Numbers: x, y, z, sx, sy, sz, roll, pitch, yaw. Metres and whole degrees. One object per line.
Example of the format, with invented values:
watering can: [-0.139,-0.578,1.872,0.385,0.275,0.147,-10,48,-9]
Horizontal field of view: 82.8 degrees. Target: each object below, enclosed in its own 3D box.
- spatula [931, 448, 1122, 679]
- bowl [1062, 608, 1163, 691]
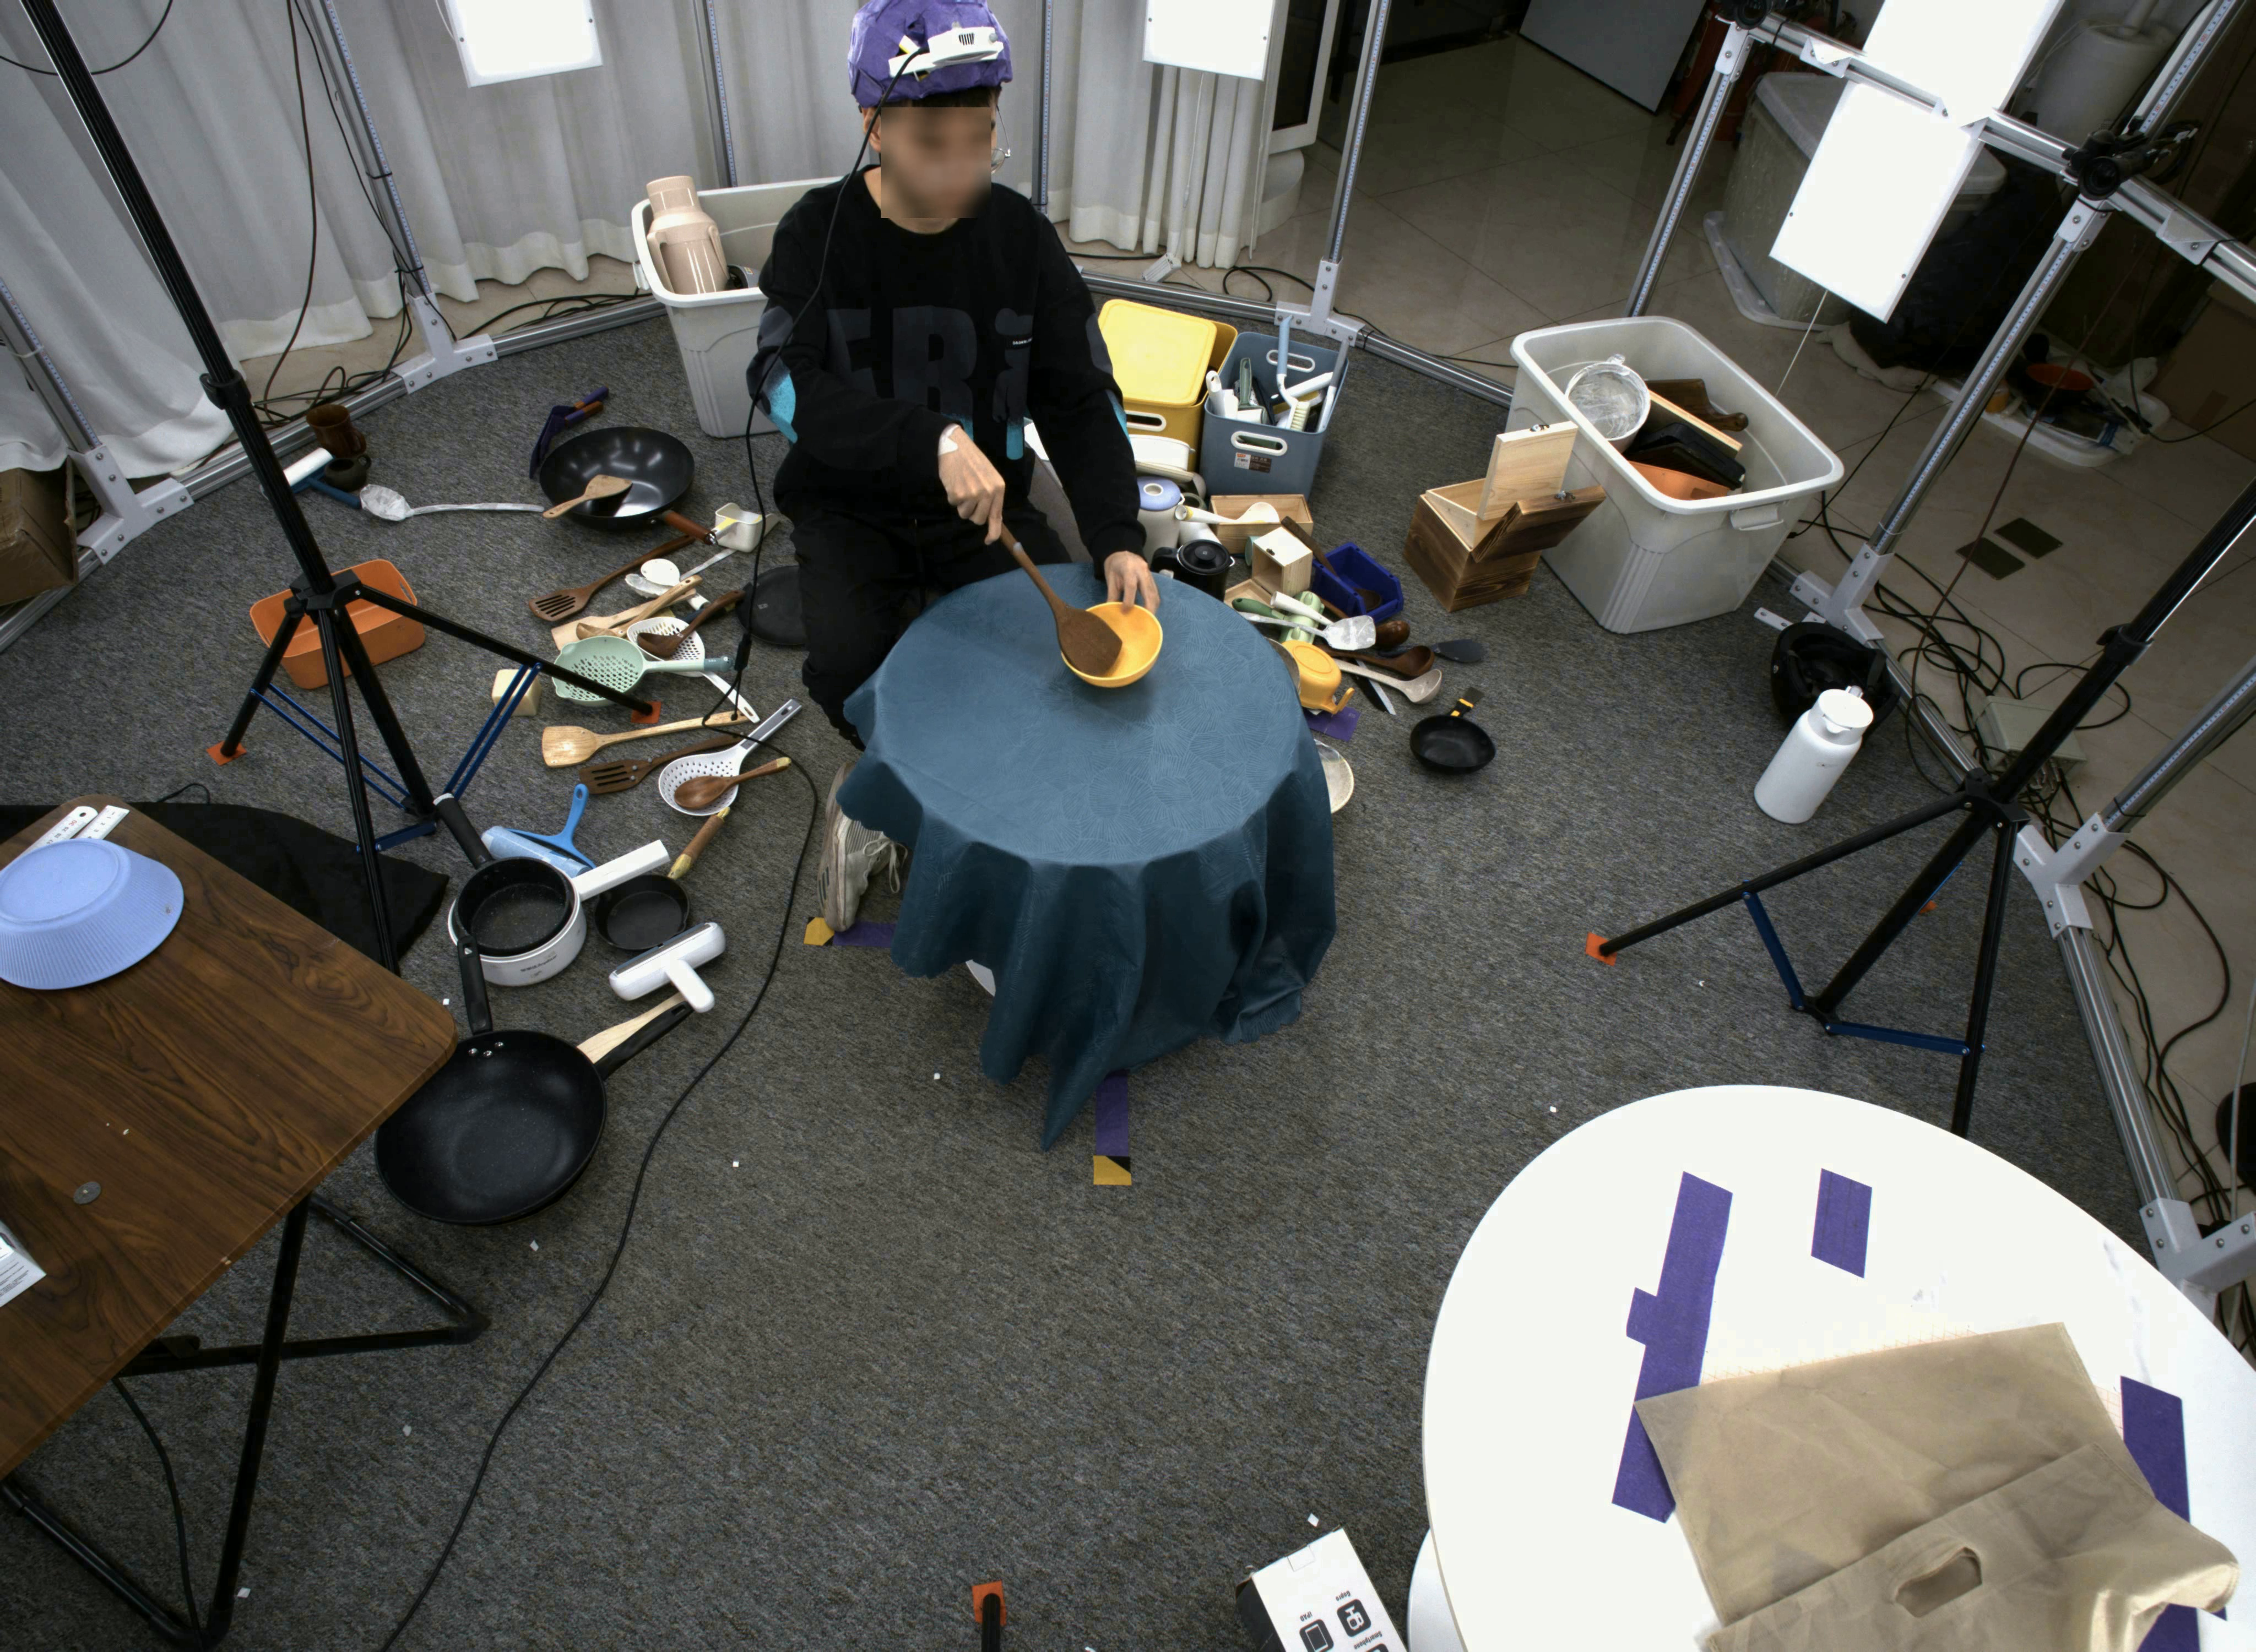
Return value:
spatula: [-0.144,-0.367,1.798,0.382,0.016,0.097,51,54,-14]
bowl: [-0.019,-0.243,1.851,0.145,0.058,0.149,-5,52,6]
